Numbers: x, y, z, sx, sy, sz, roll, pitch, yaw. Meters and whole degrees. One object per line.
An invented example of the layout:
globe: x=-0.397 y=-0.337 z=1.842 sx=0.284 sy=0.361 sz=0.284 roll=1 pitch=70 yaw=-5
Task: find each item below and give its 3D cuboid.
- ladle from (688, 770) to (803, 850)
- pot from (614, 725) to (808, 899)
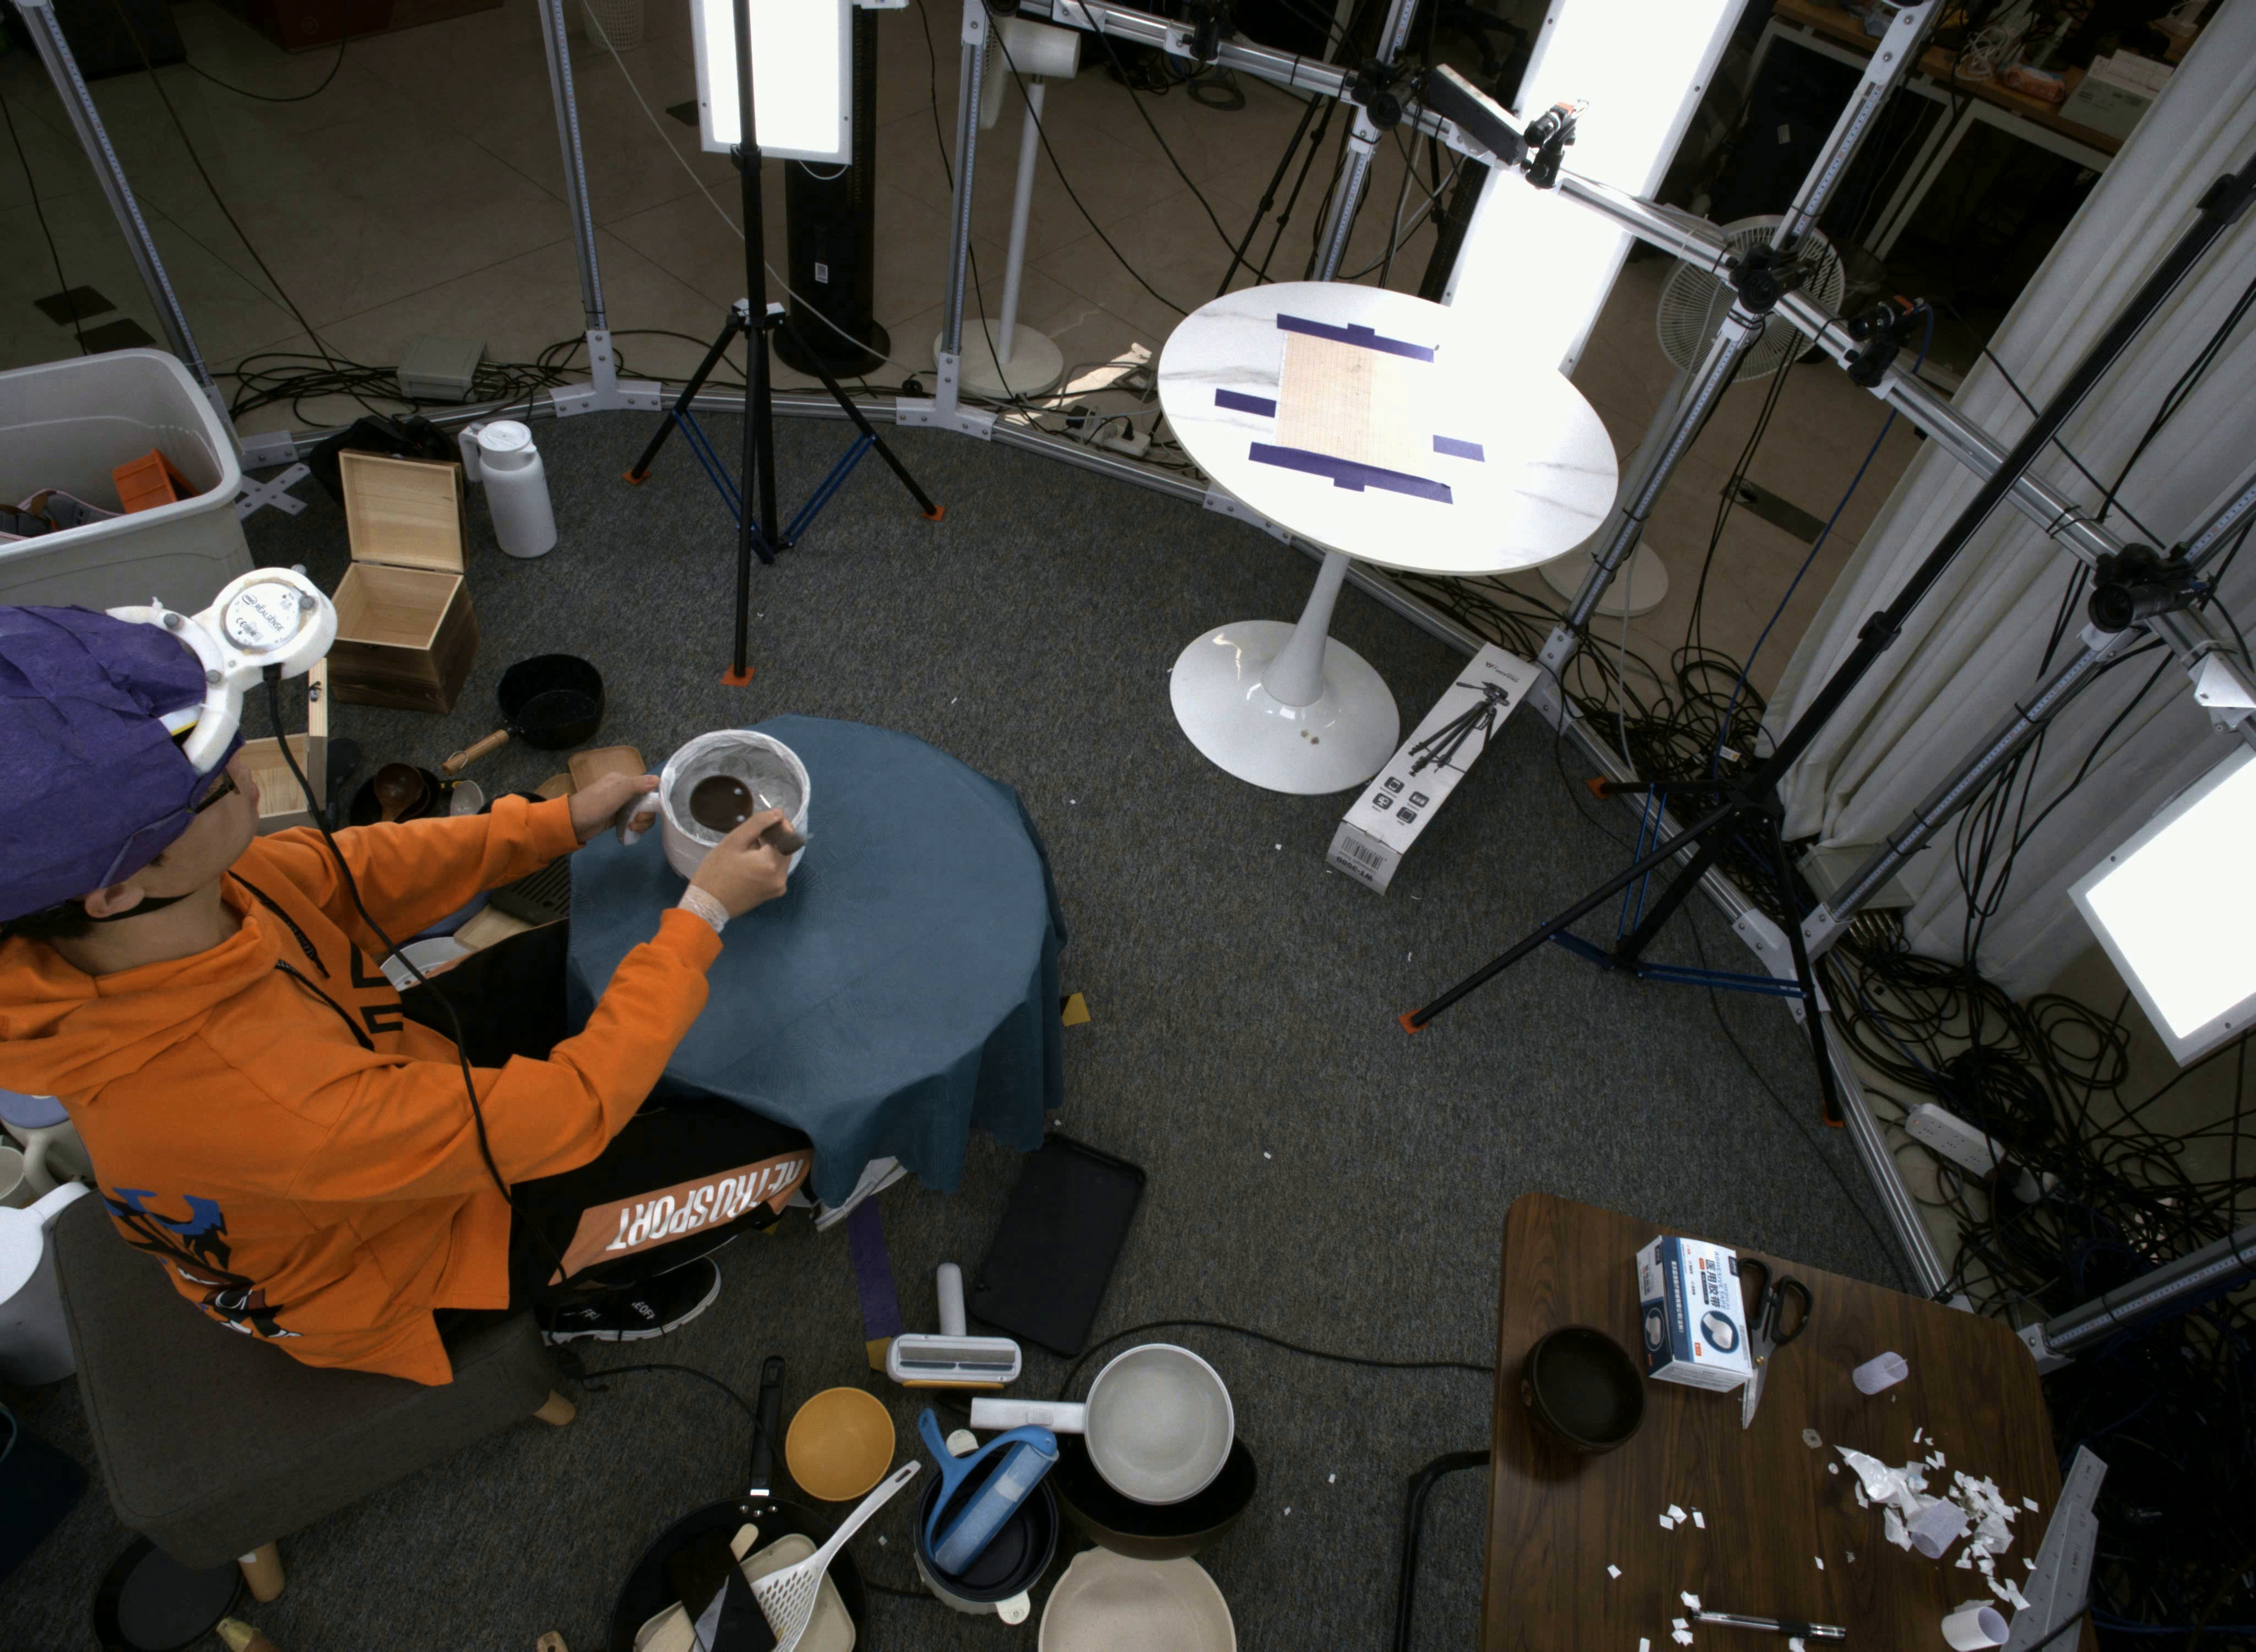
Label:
ladle: x=-0.426 y=-0.022 z=1.435 sx=0.076 sy=0.265 sz=0.073 roll=-35 pitch=112 yaw=-24
pot: x=-0.510 y=-0.014 z=1.572 sx=0.235 sy=0.138 sz=0.175 roll=0 pitch=56 yaw=-18
